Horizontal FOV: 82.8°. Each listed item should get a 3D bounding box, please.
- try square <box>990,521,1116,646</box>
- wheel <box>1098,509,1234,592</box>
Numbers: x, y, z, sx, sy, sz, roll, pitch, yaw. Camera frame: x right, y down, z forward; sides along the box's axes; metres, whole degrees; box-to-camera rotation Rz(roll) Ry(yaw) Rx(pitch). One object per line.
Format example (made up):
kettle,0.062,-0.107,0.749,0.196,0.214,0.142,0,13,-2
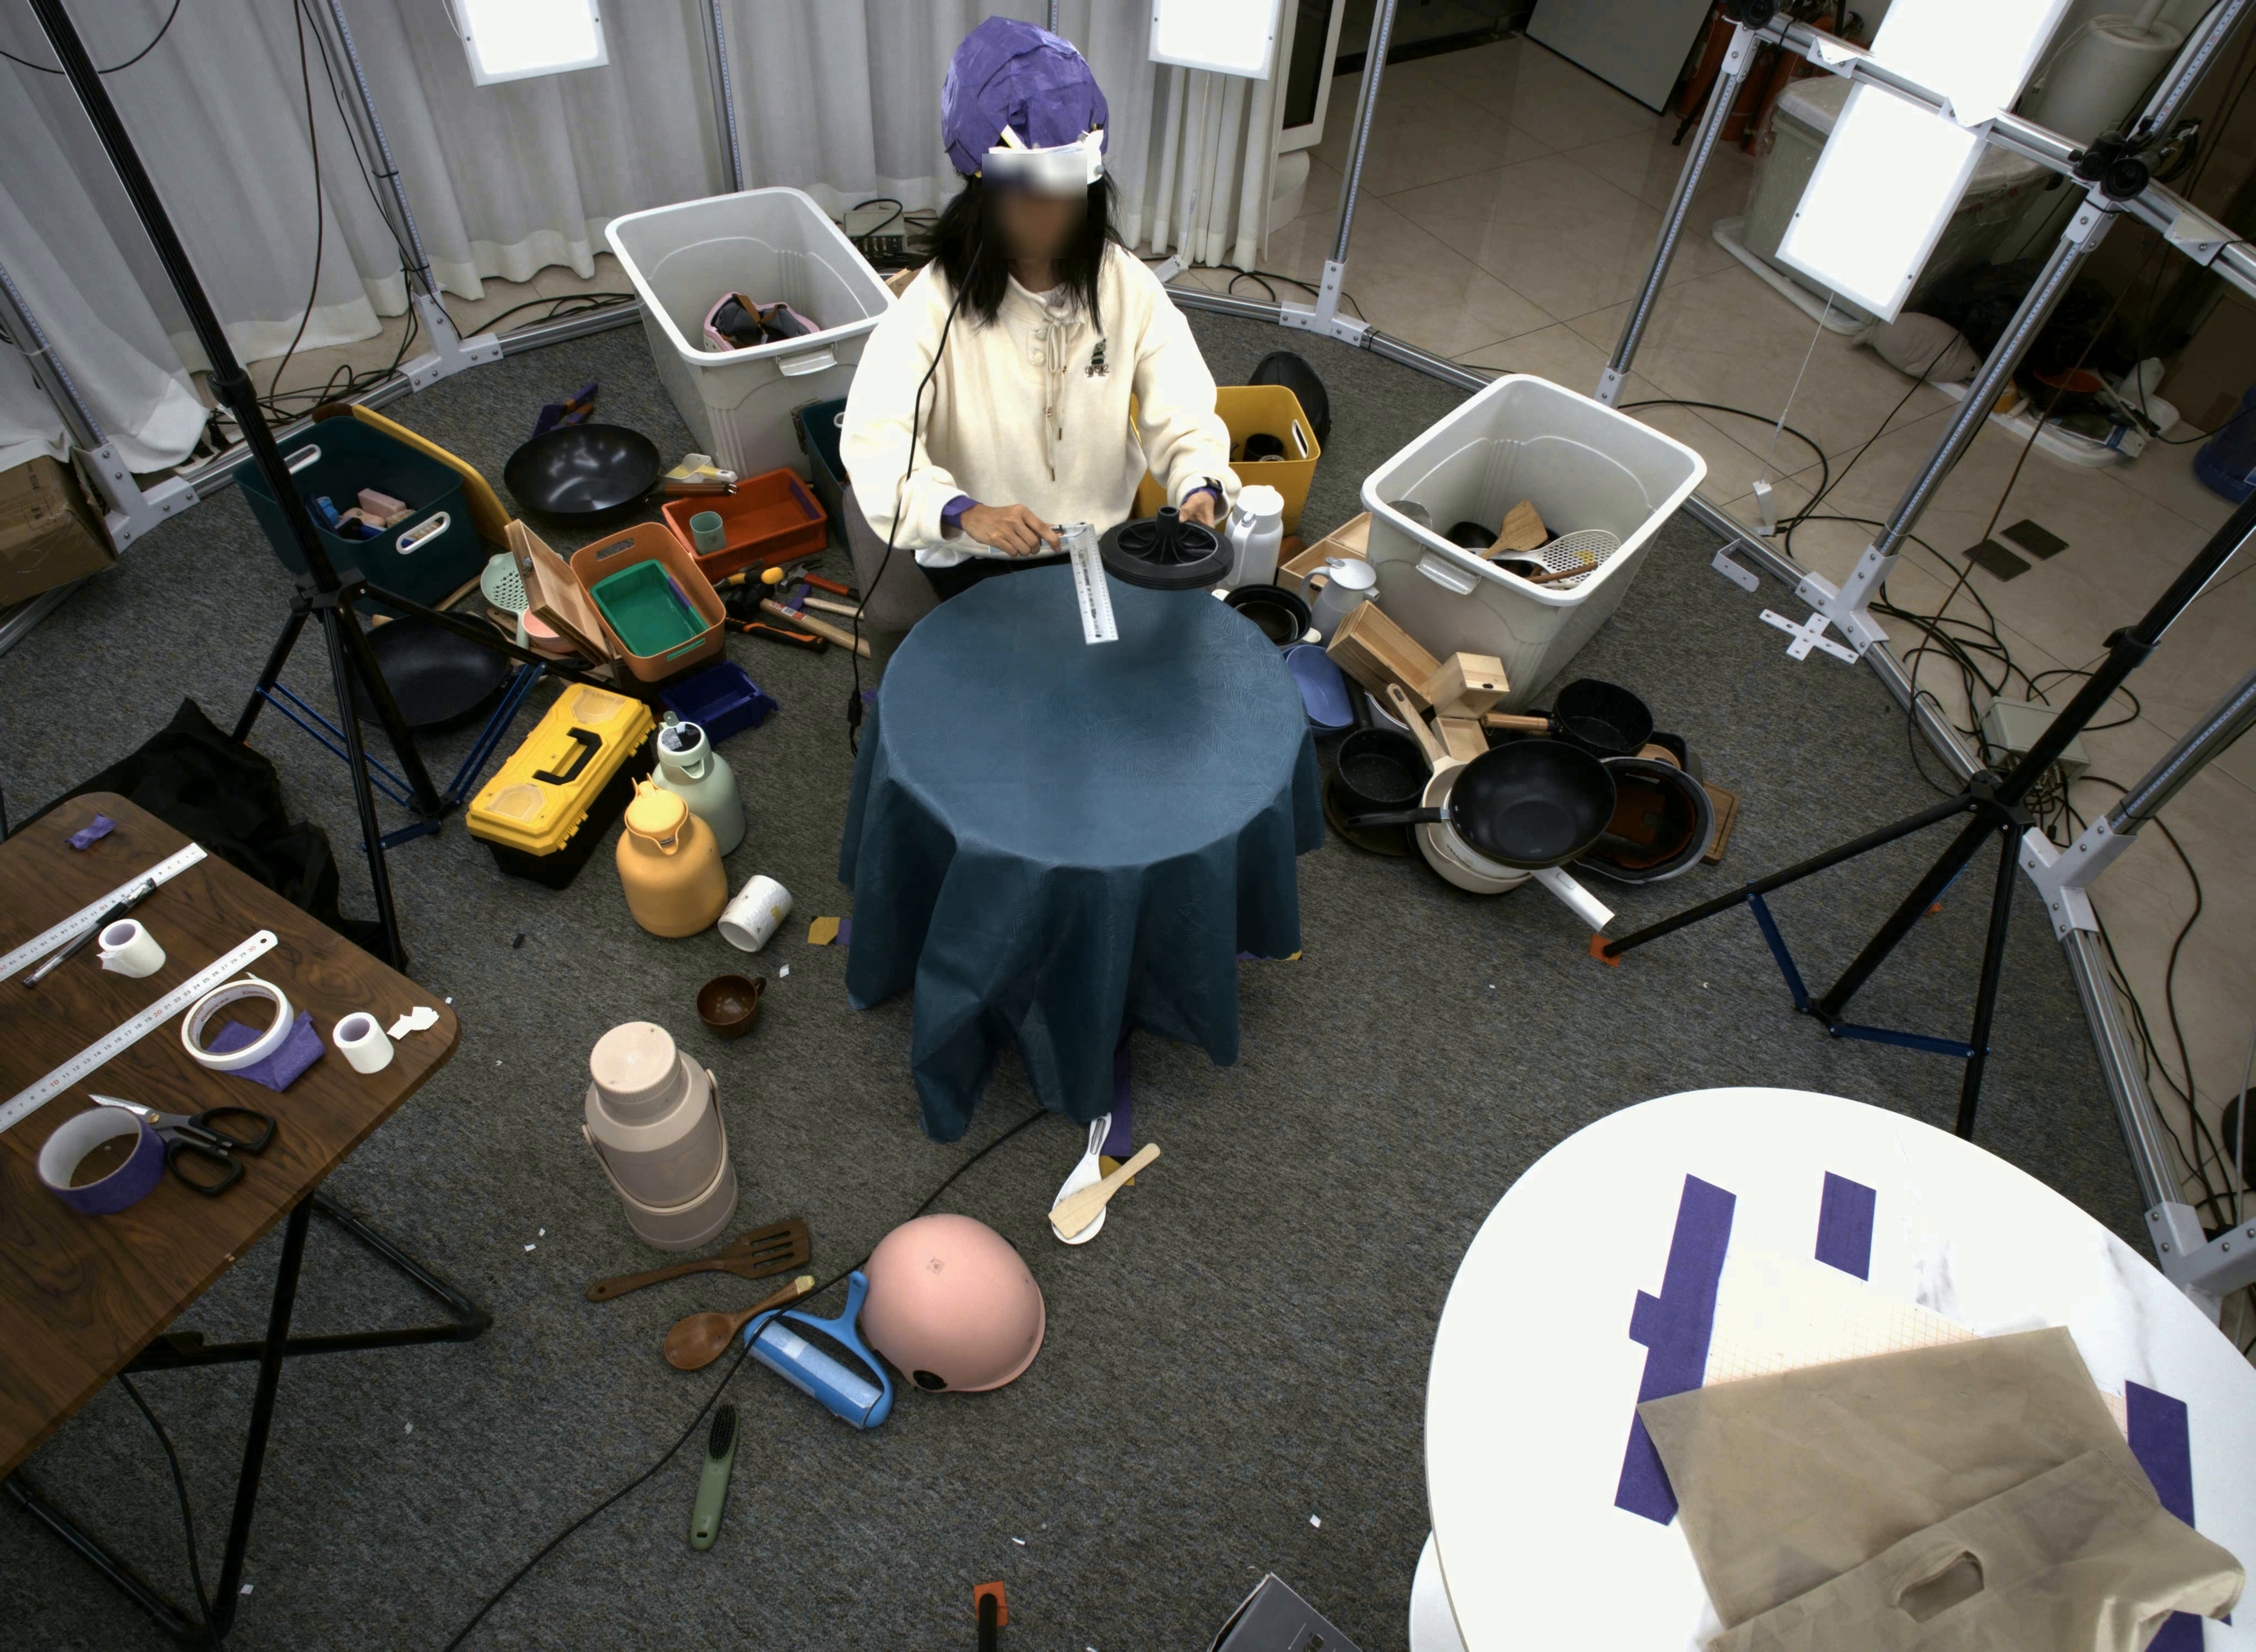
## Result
try square,-0.104,-0.317,1.708,0.152,0.015,0.321,-10,40,1
wheel,0.054,-0.393,1.771,0.190,0.077,0.192,-11,39,-17
